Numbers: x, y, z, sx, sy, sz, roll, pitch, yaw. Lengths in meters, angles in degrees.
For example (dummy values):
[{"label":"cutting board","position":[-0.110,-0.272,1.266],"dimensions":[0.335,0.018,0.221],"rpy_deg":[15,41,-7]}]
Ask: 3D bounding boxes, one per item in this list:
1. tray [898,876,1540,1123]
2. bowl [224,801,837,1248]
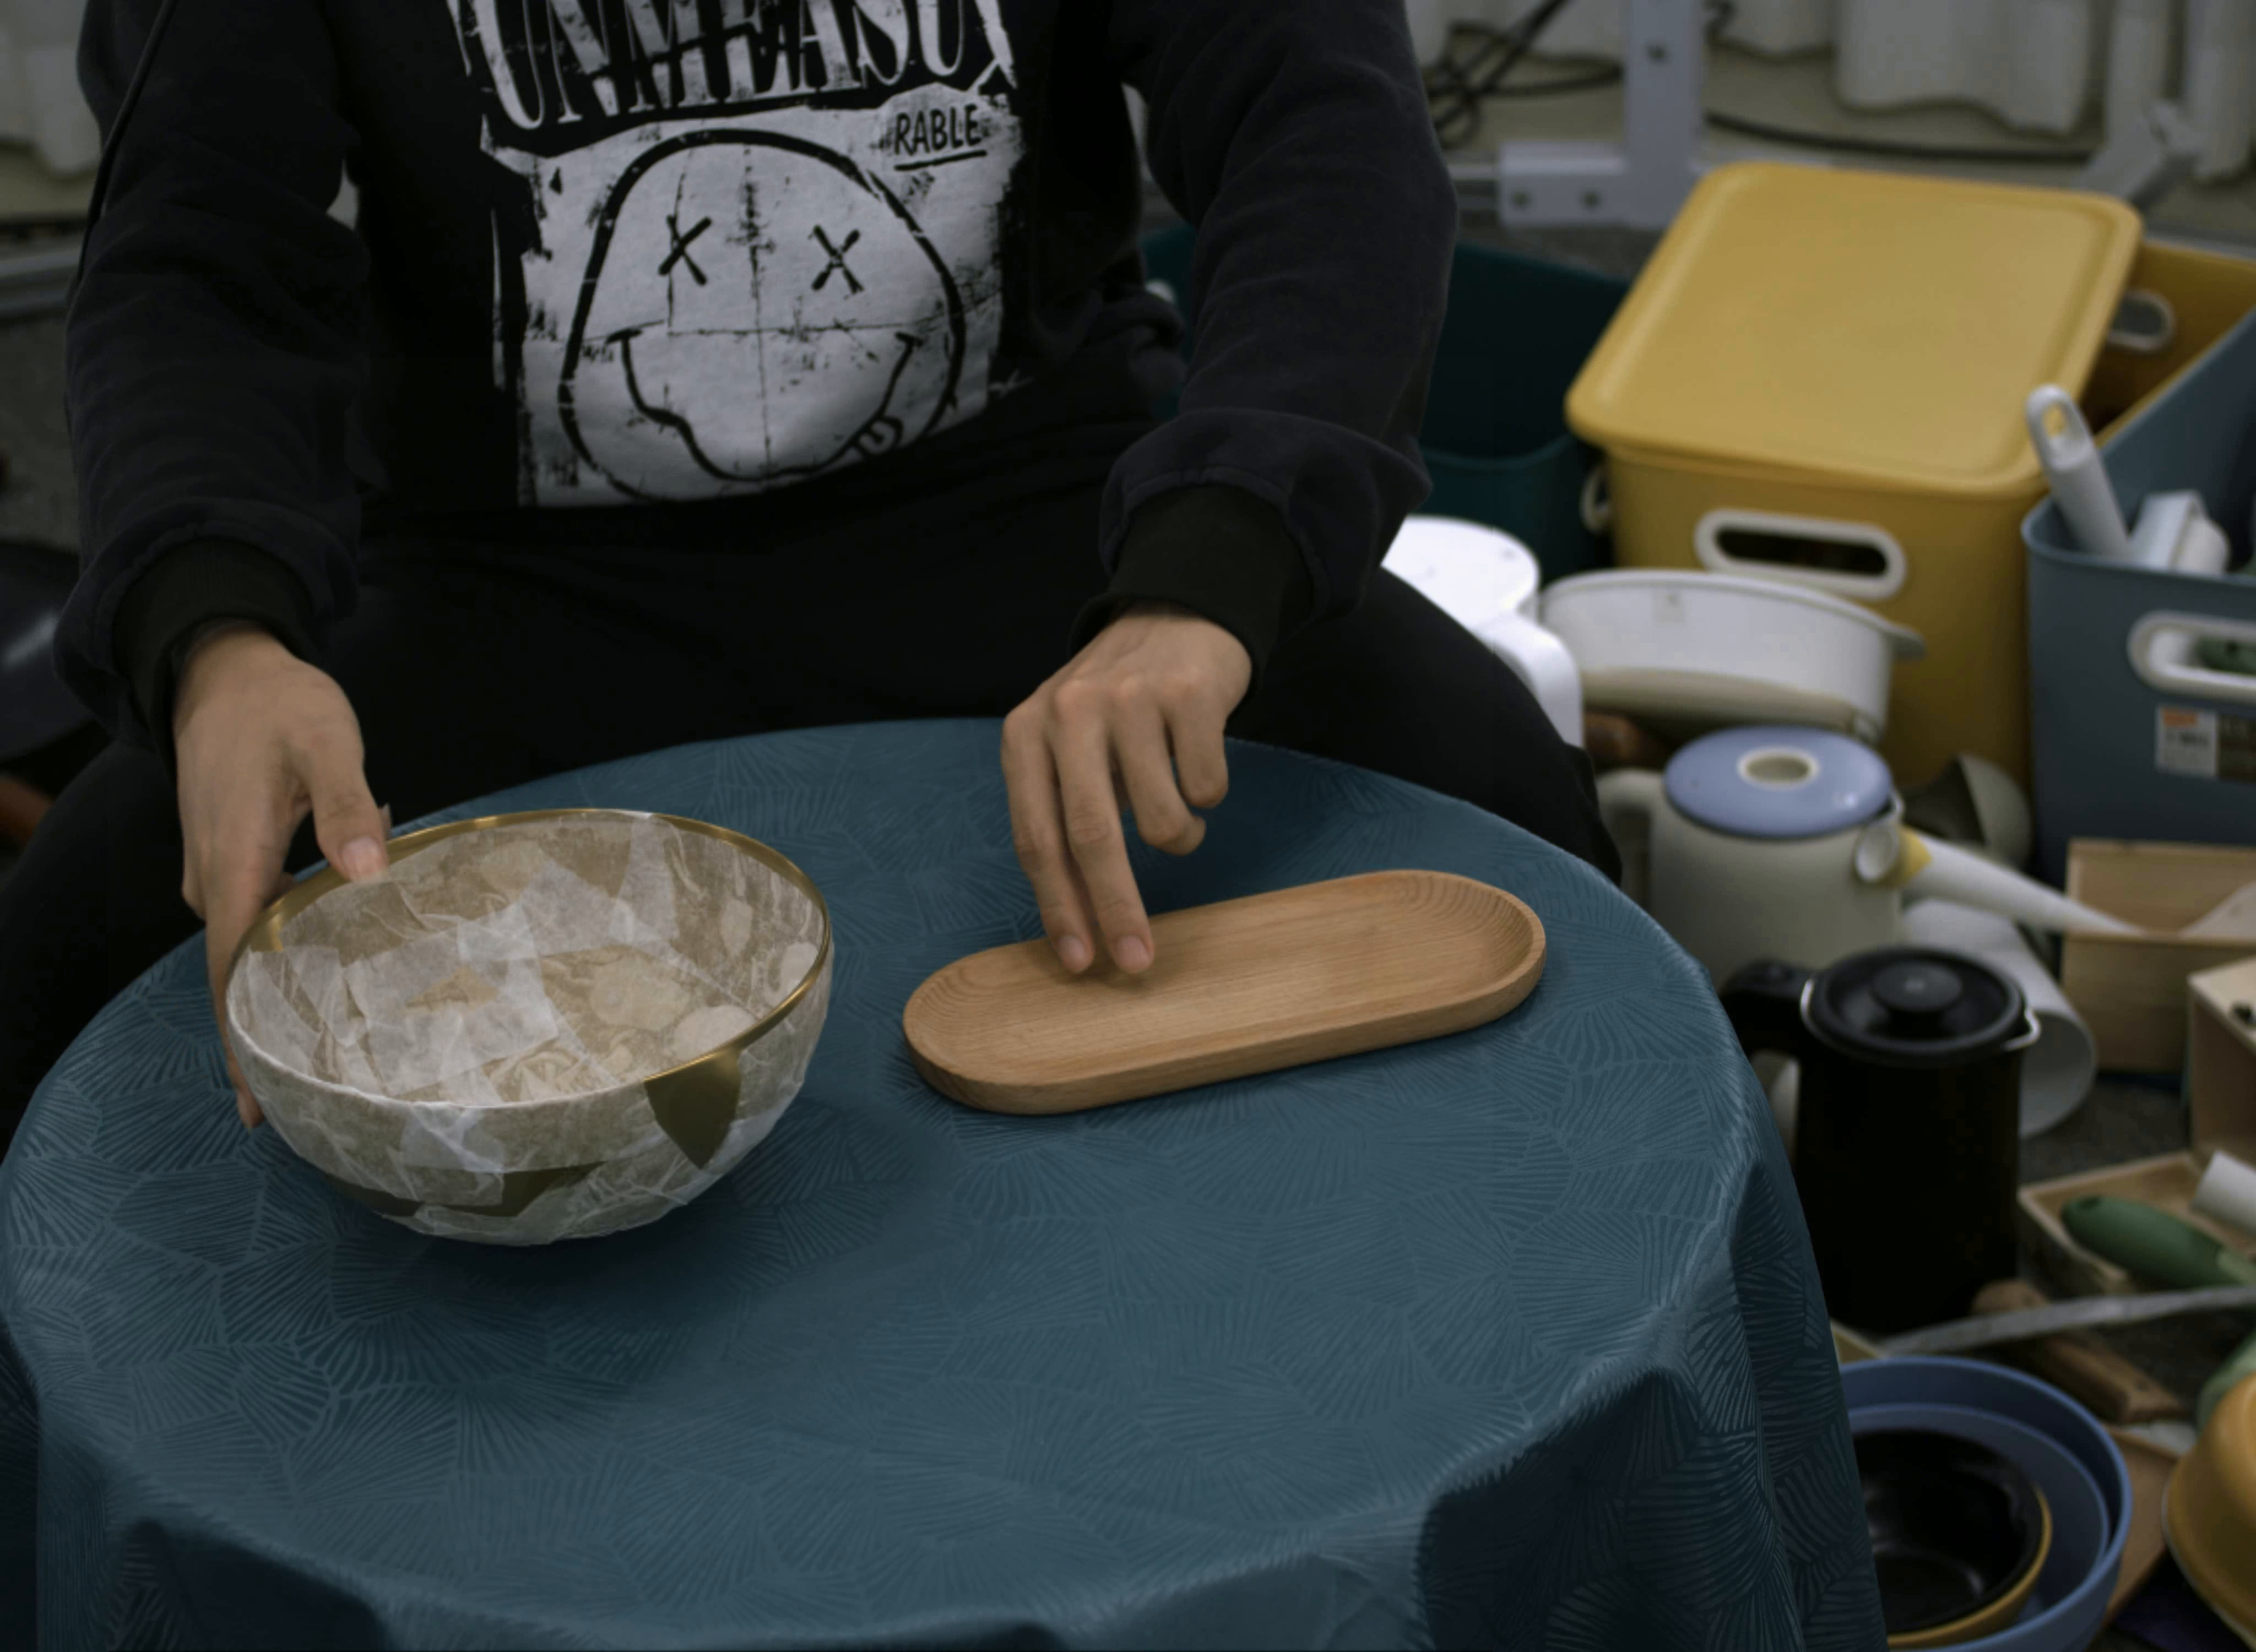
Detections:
[{"label":"tray","position":[0.033,0.061,1.960],"dimensions":[0.231,0.020,0.102],"rpy_deg":[-13,27,-15]},{"label":"bowl","position":[-0.190,0.078,1.865],"dimensions":[0.213,0.093,0.218],"rpy_deg":[-3,27,2]}]
